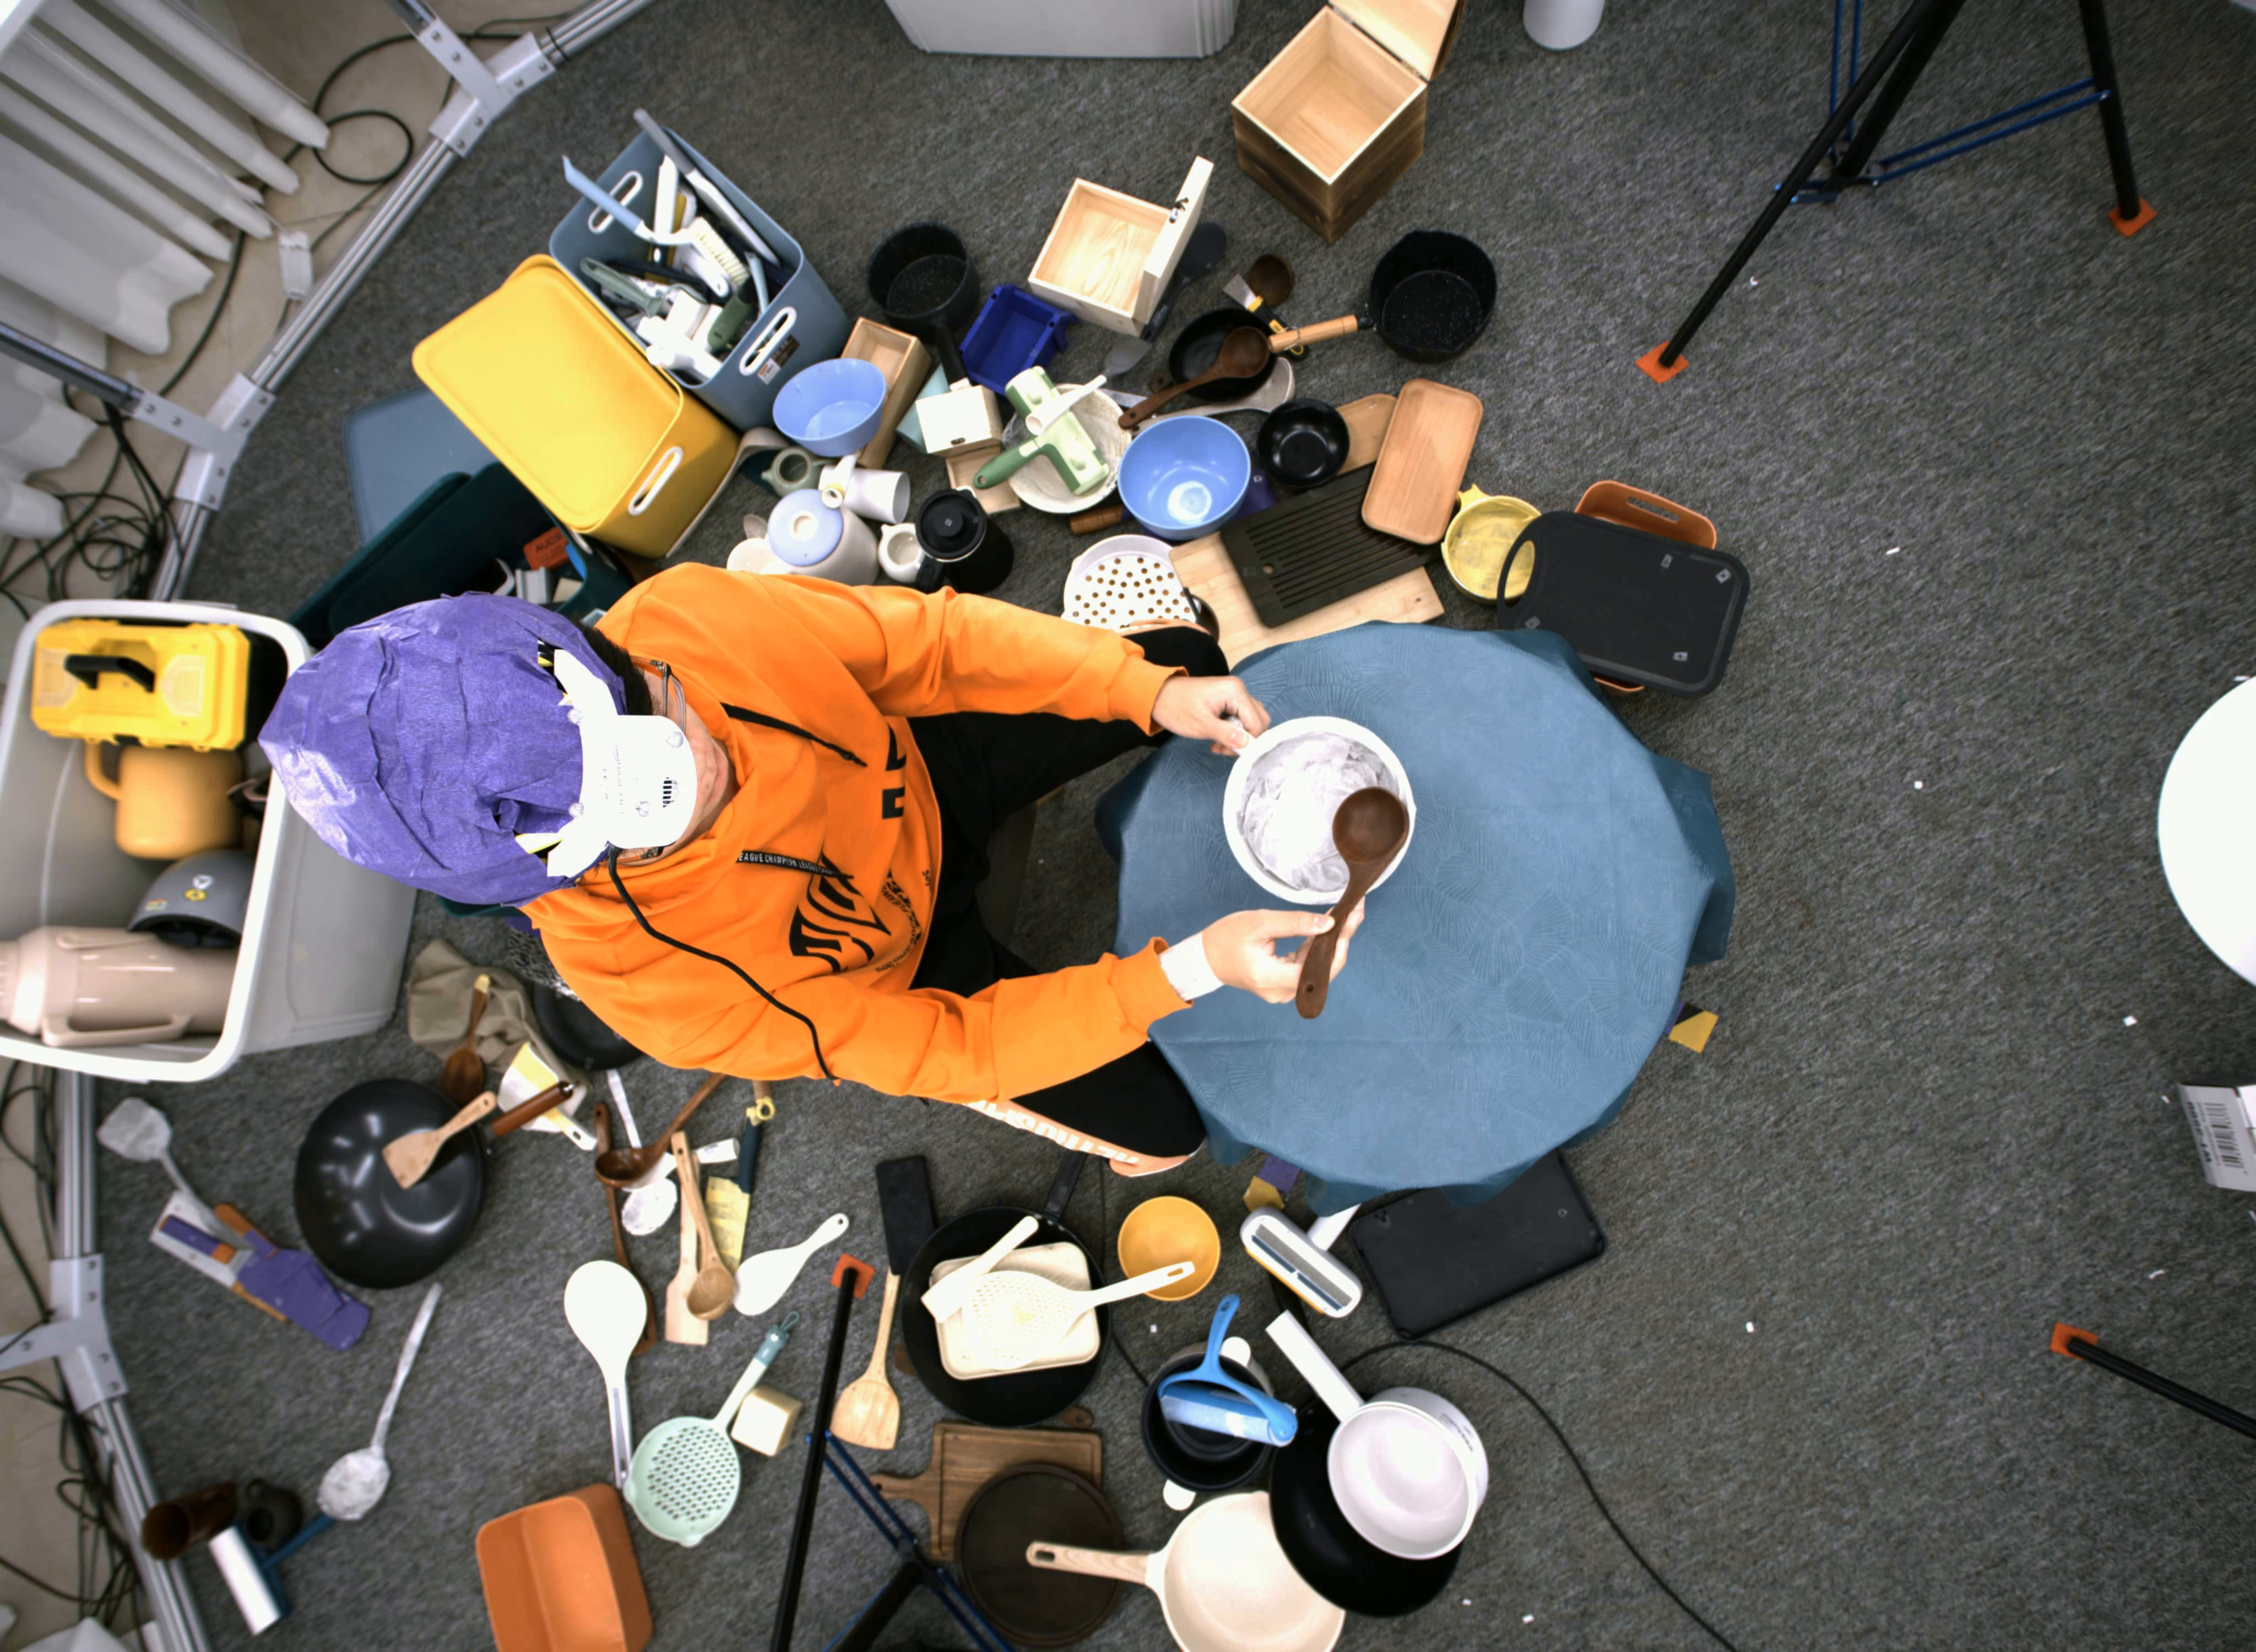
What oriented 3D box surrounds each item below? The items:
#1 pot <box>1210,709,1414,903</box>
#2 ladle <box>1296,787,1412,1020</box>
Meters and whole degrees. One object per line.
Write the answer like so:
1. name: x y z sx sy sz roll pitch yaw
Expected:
1. pot: 0.169 -0.032 1.356 0.233 0.136 0.180 41 98 10
2. ladle: 0.187 0.060 1.209 0.077 0.253 0.066 -10 122 37
